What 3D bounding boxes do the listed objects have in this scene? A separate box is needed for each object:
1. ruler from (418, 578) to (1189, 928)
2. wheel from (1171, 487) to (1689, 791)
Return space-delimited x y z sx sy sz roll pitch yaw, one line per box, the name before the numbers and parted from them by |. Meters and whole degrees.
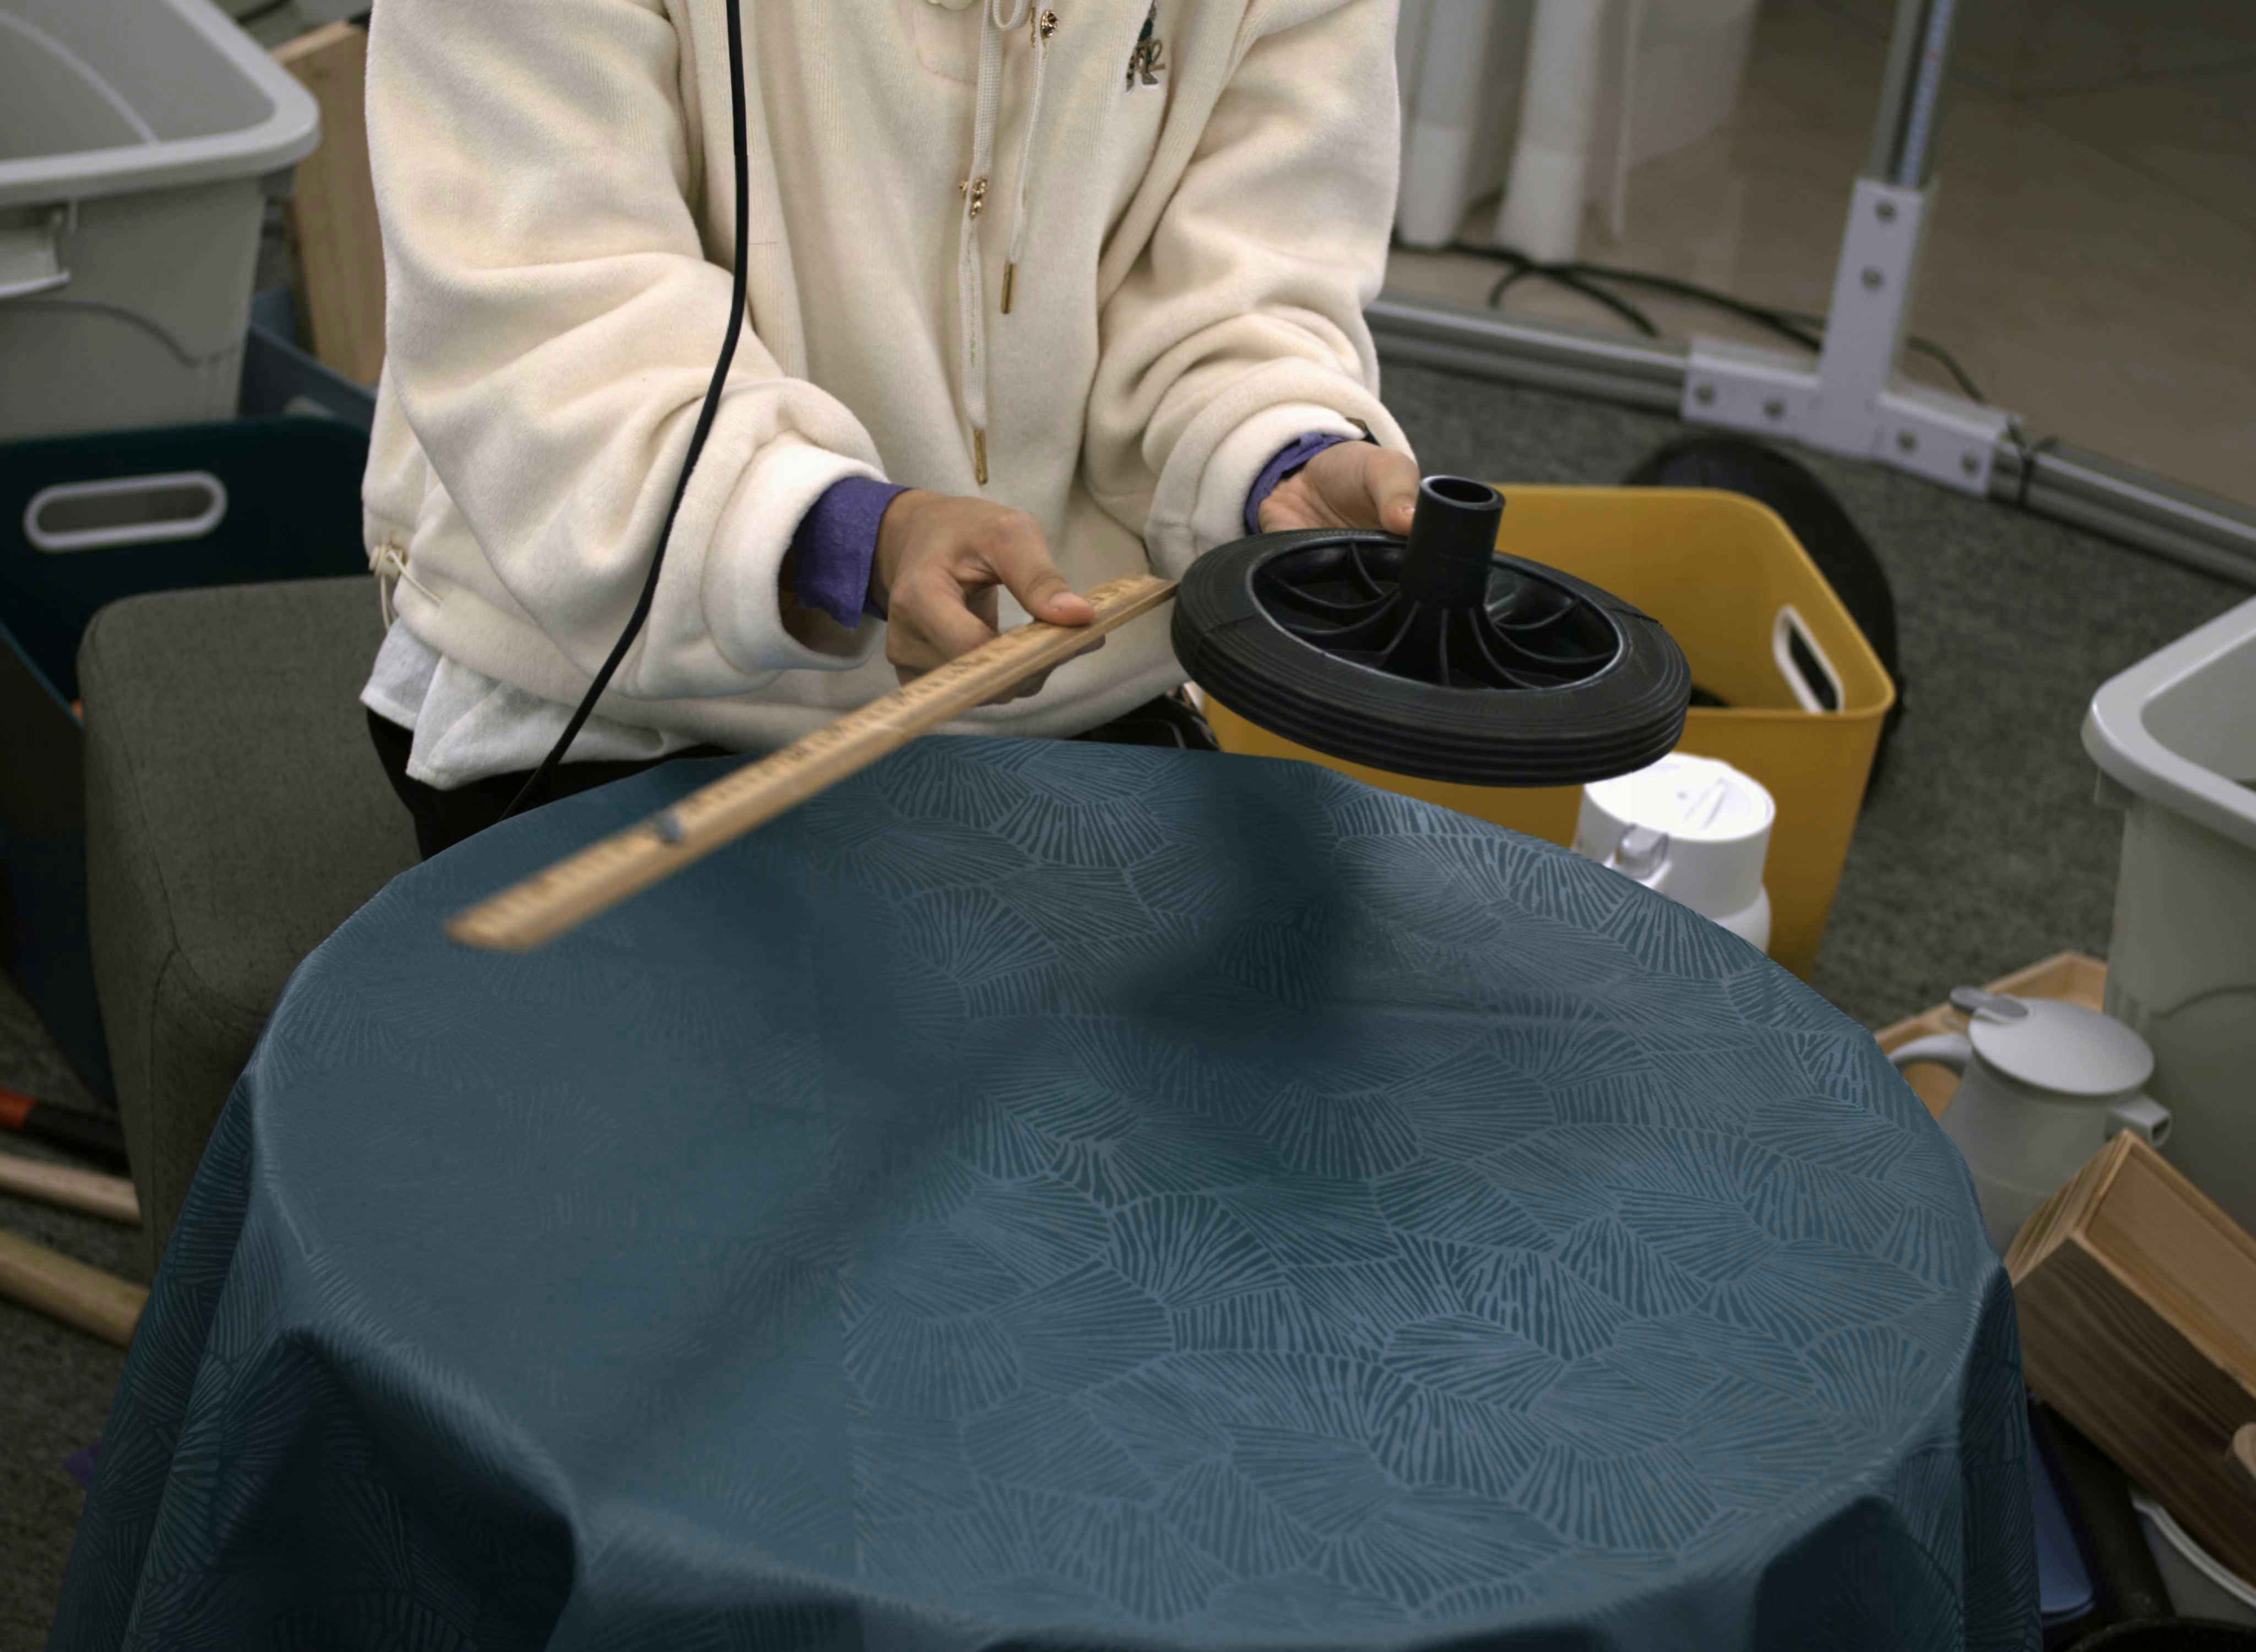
ruler | -0.089 -0.031 1.705 0.027 0.006 0.499 6 15 23
wheel | 0.112 -0.079 1.902 0.187 0.079 0.190 13 23 8
